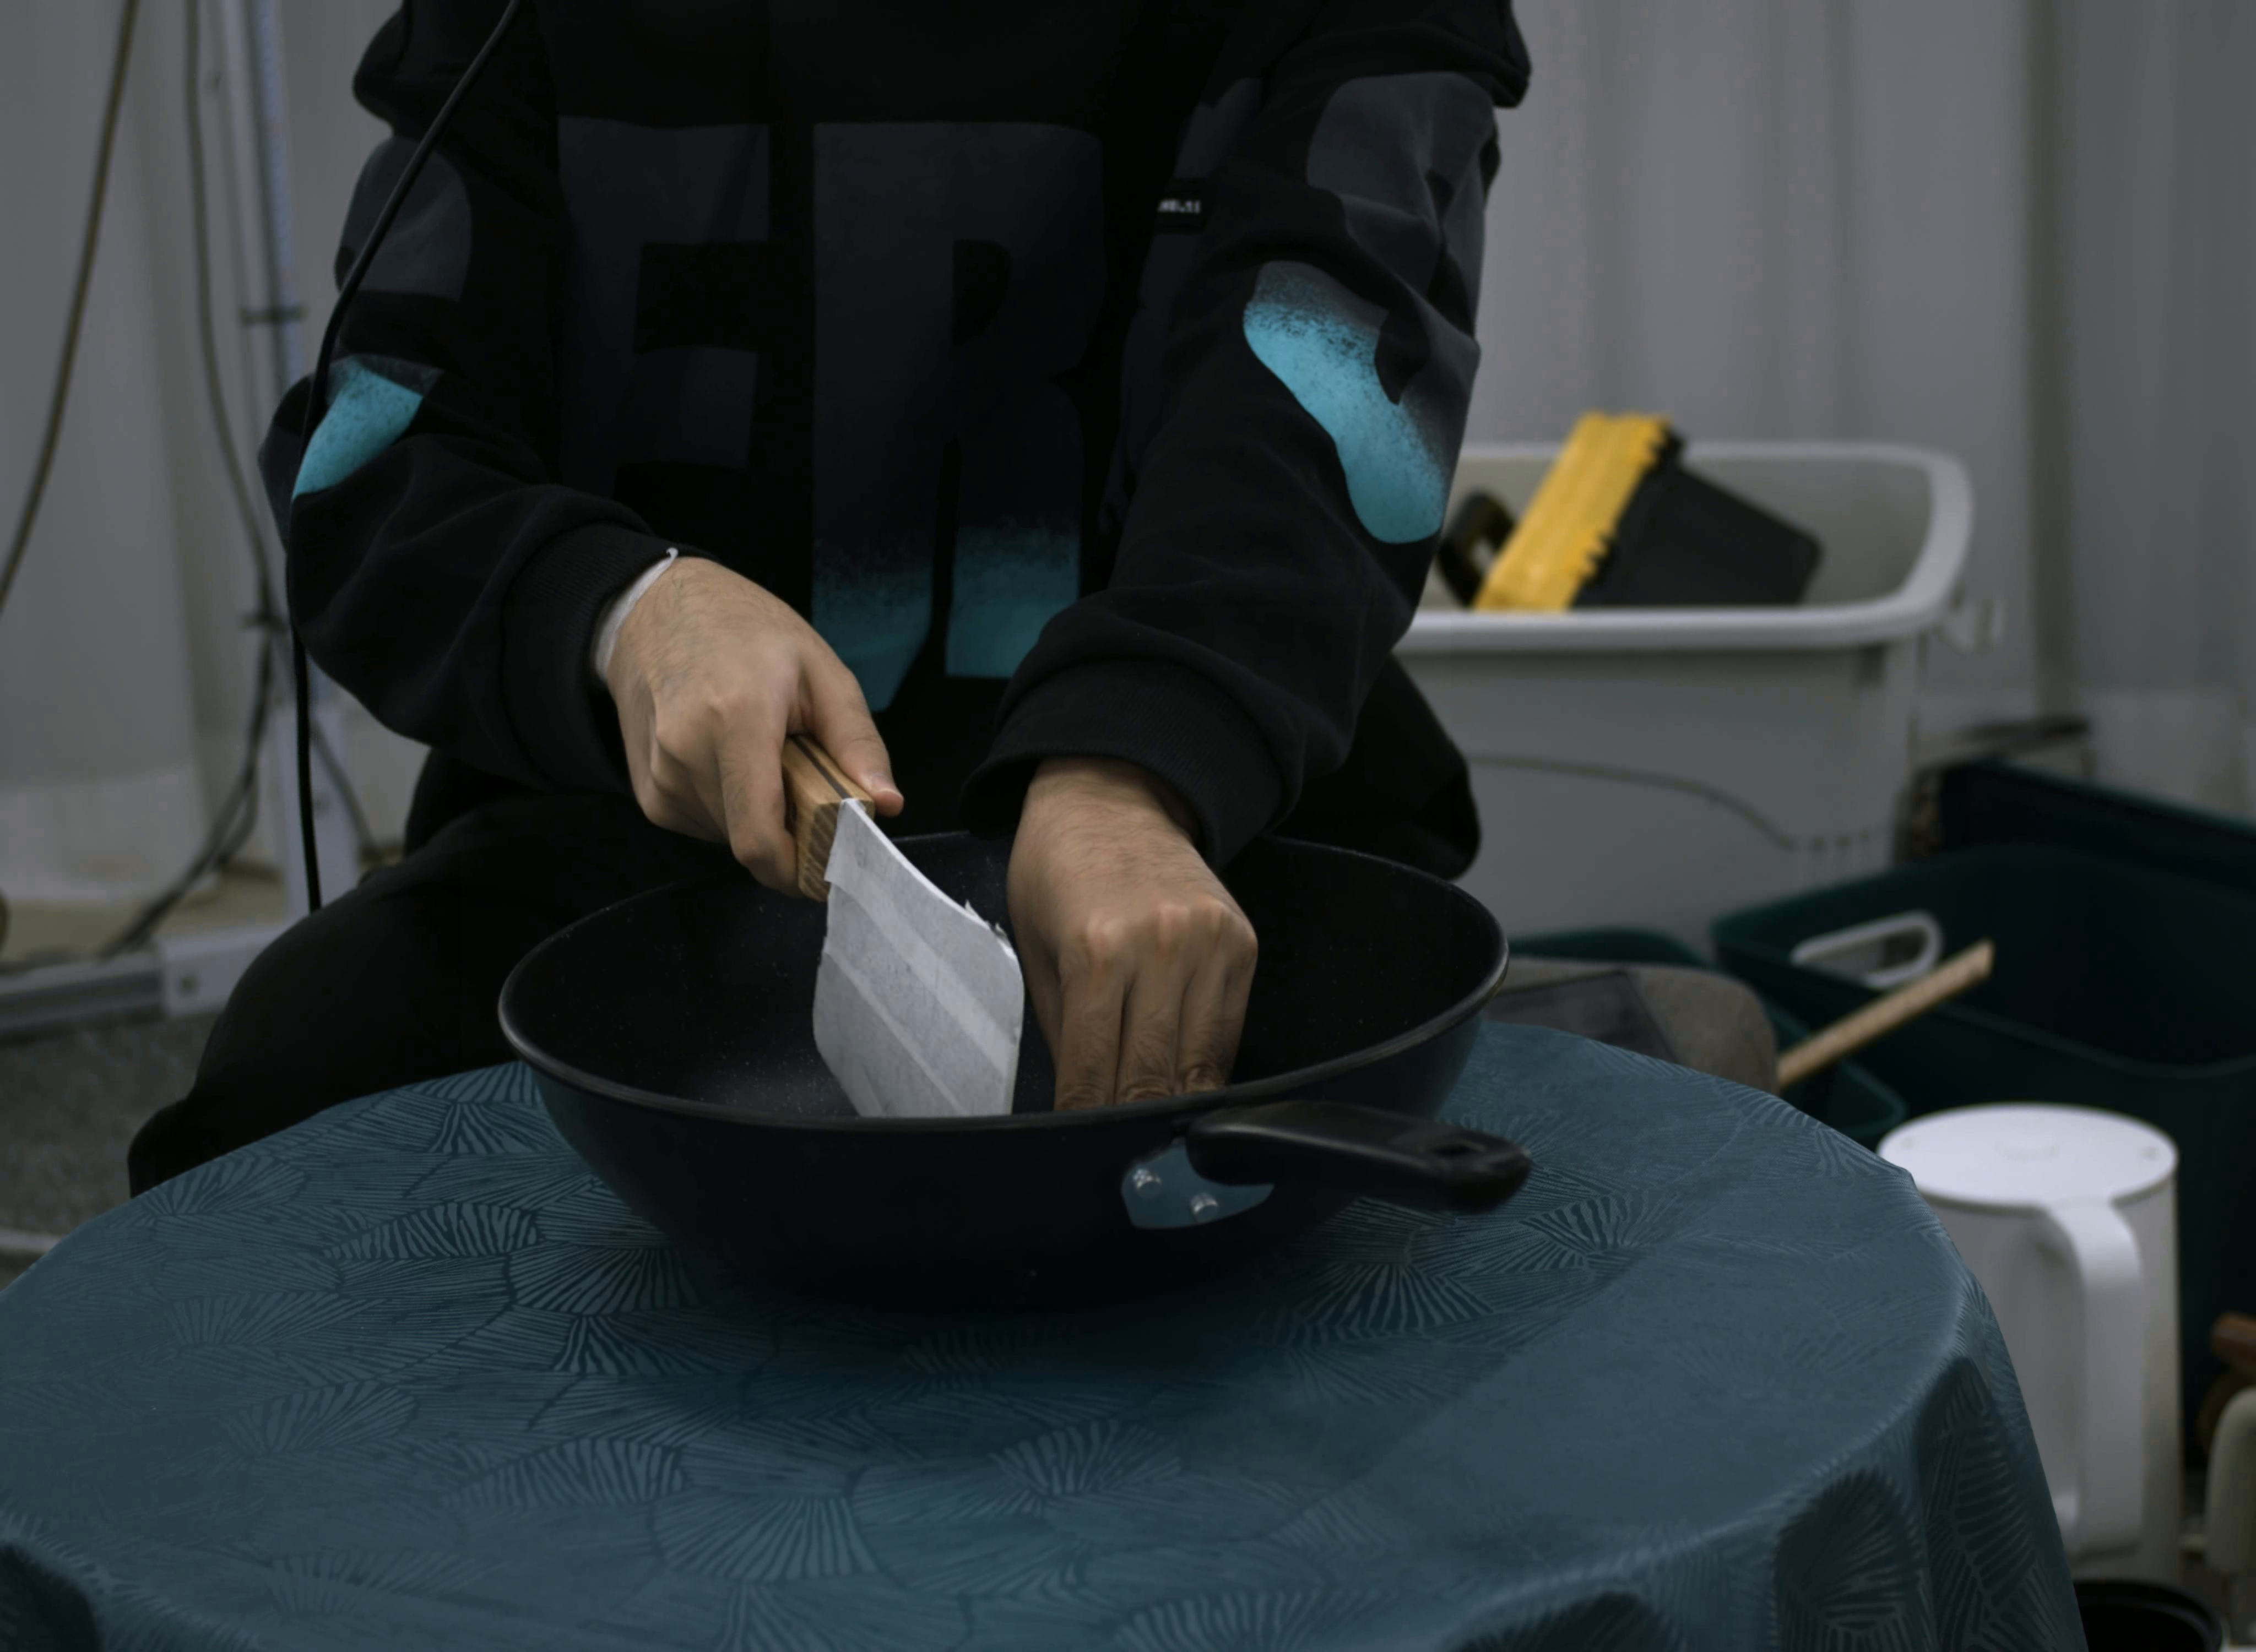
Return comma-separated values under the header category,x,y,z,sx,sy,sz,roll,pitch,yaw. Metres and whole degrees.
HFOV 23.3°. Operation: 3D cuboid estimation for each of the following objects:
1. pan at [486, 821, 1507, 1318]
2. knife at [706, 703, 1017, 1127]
category,x,y,z,sx,sy,sz,roll,pitch,yaw
pan,-0.006,0.089,1.610,0.309,0.111,0.480,-11,17,-22
knife,-0.083,0.031,1.711,0.021,0.113,0.319,1,22,-20
